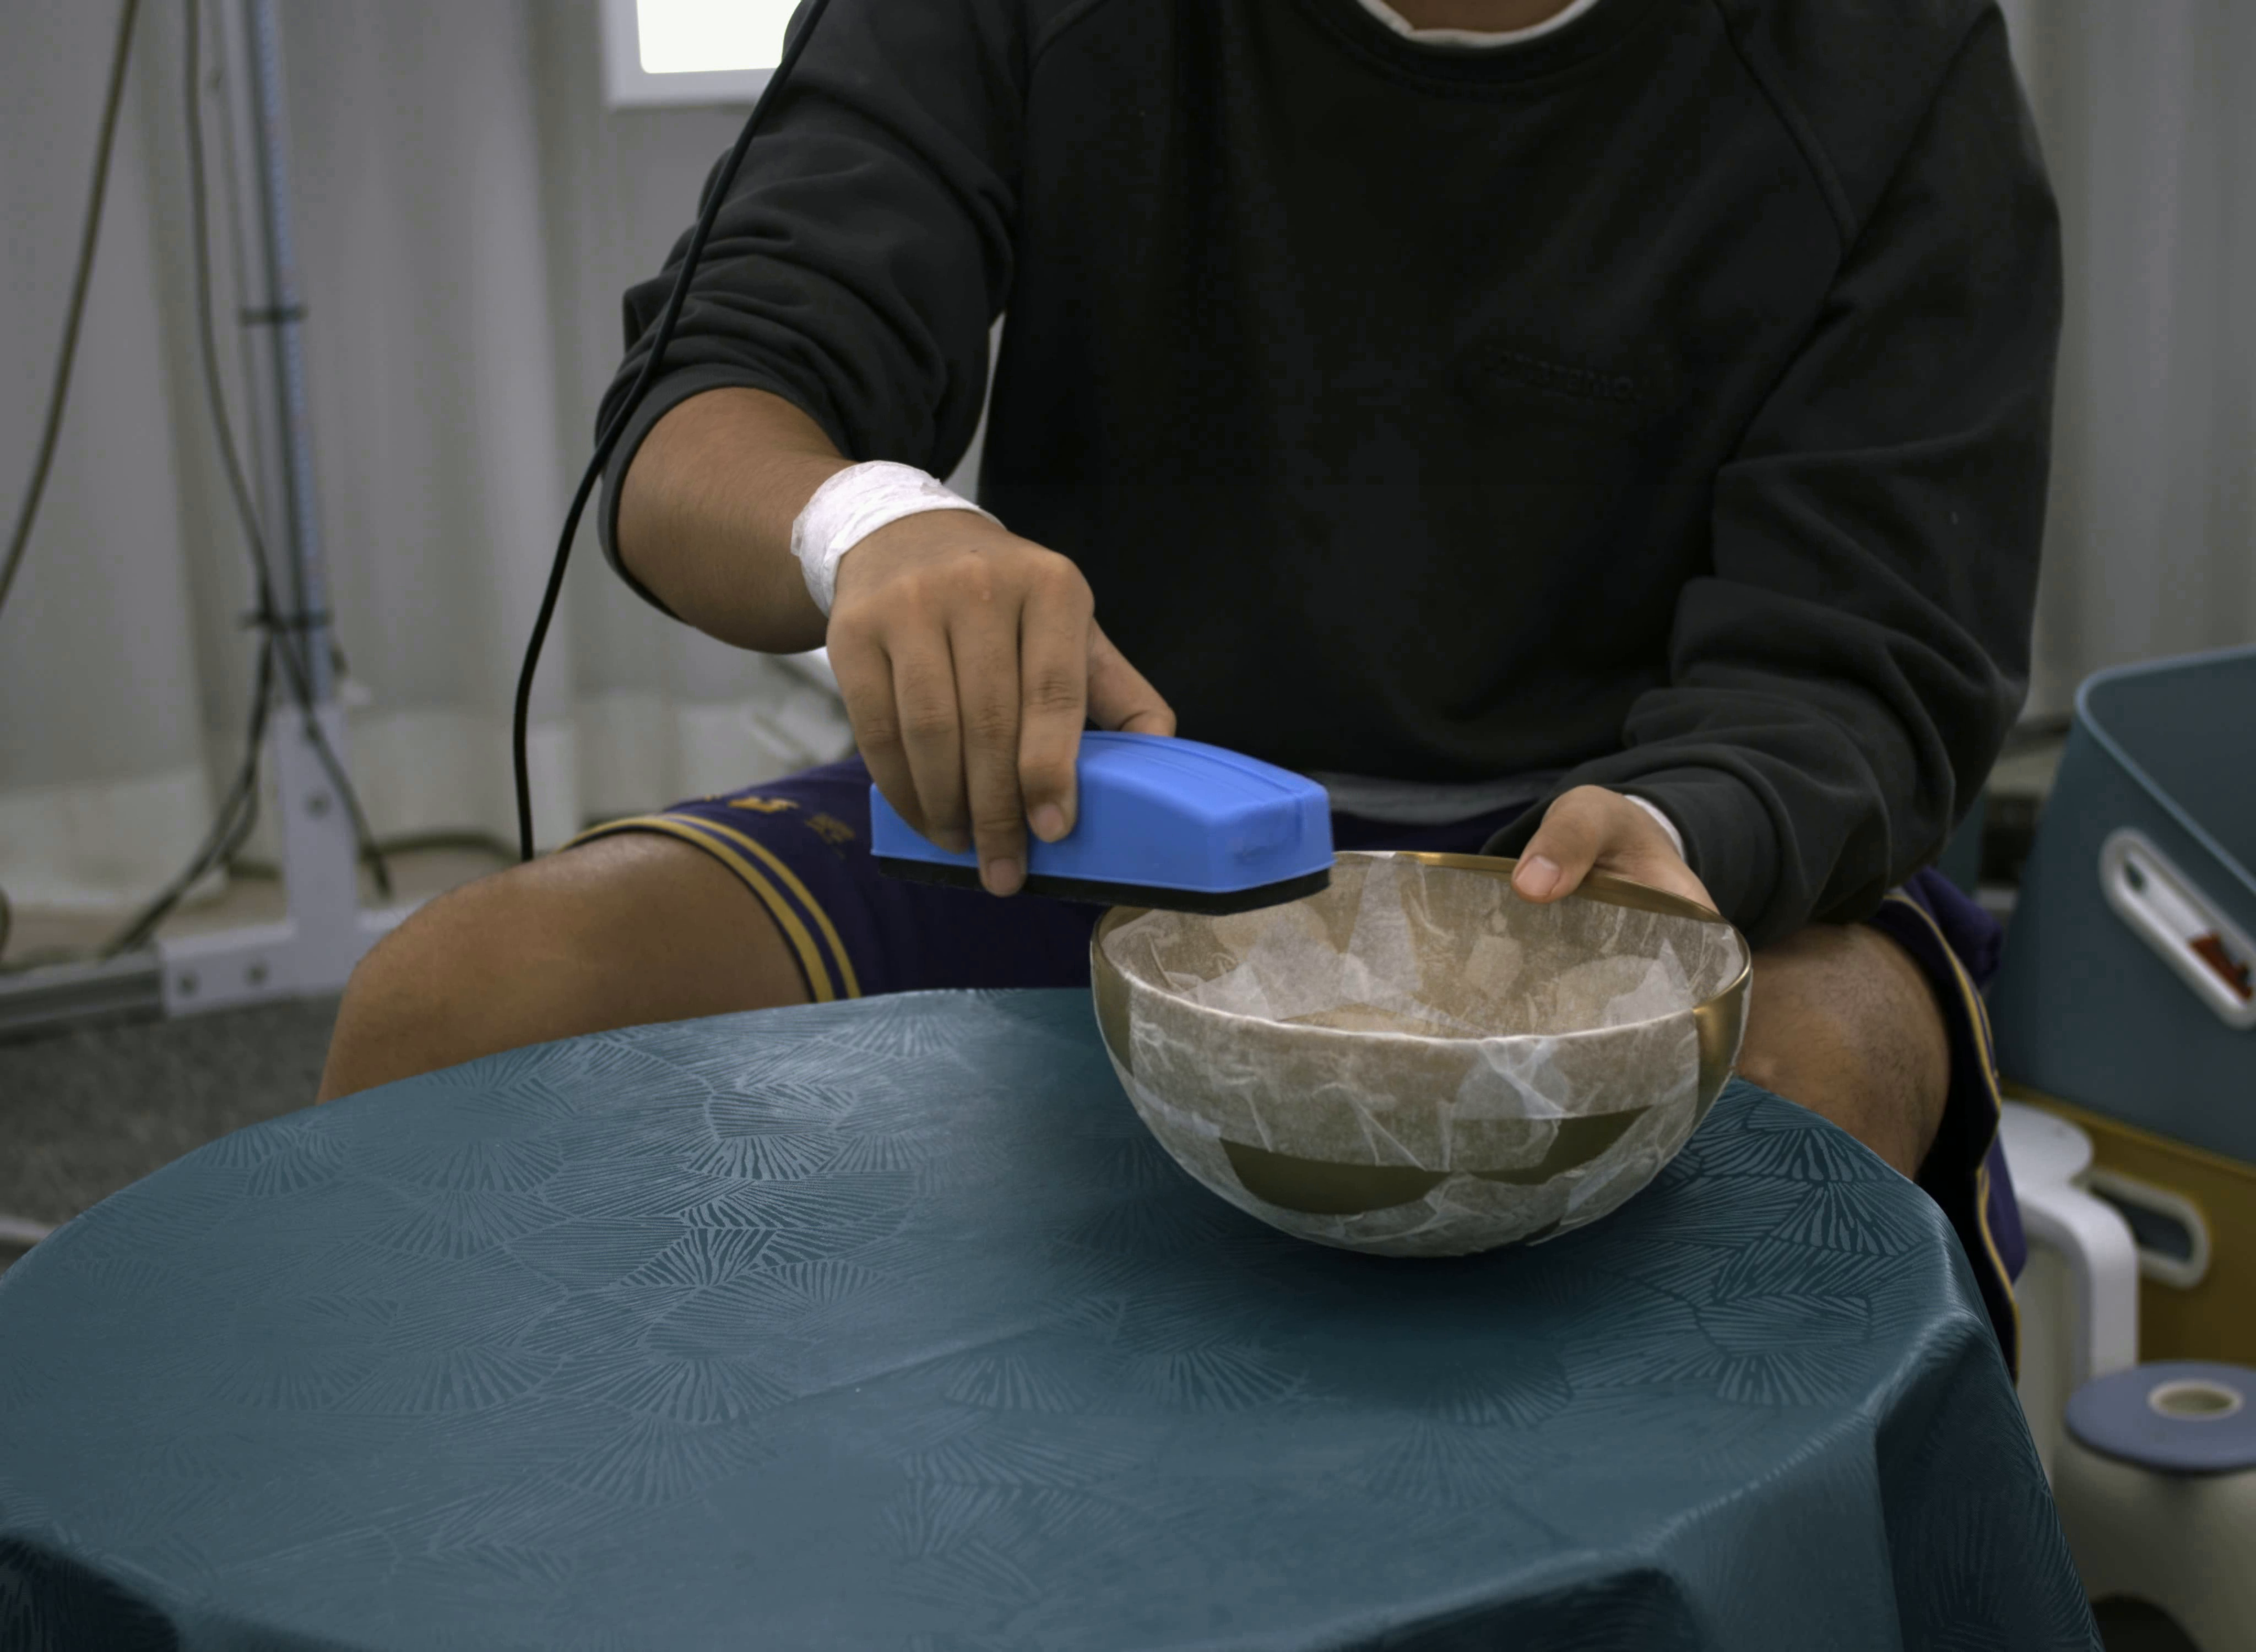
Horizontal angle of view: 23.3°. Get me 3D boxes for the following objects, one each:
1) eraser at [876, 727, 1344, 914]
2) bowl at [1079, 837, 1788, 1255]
[{"bbox_3d":[-0.008,-0.005,1.697,0.163,0.047,0.054,5,15,43],"label":"eraser"},{"bbox_3d":[0.089,0.075,1.654,0.214,0.094,0.216,1,15,0],"label":"bowl"}]
